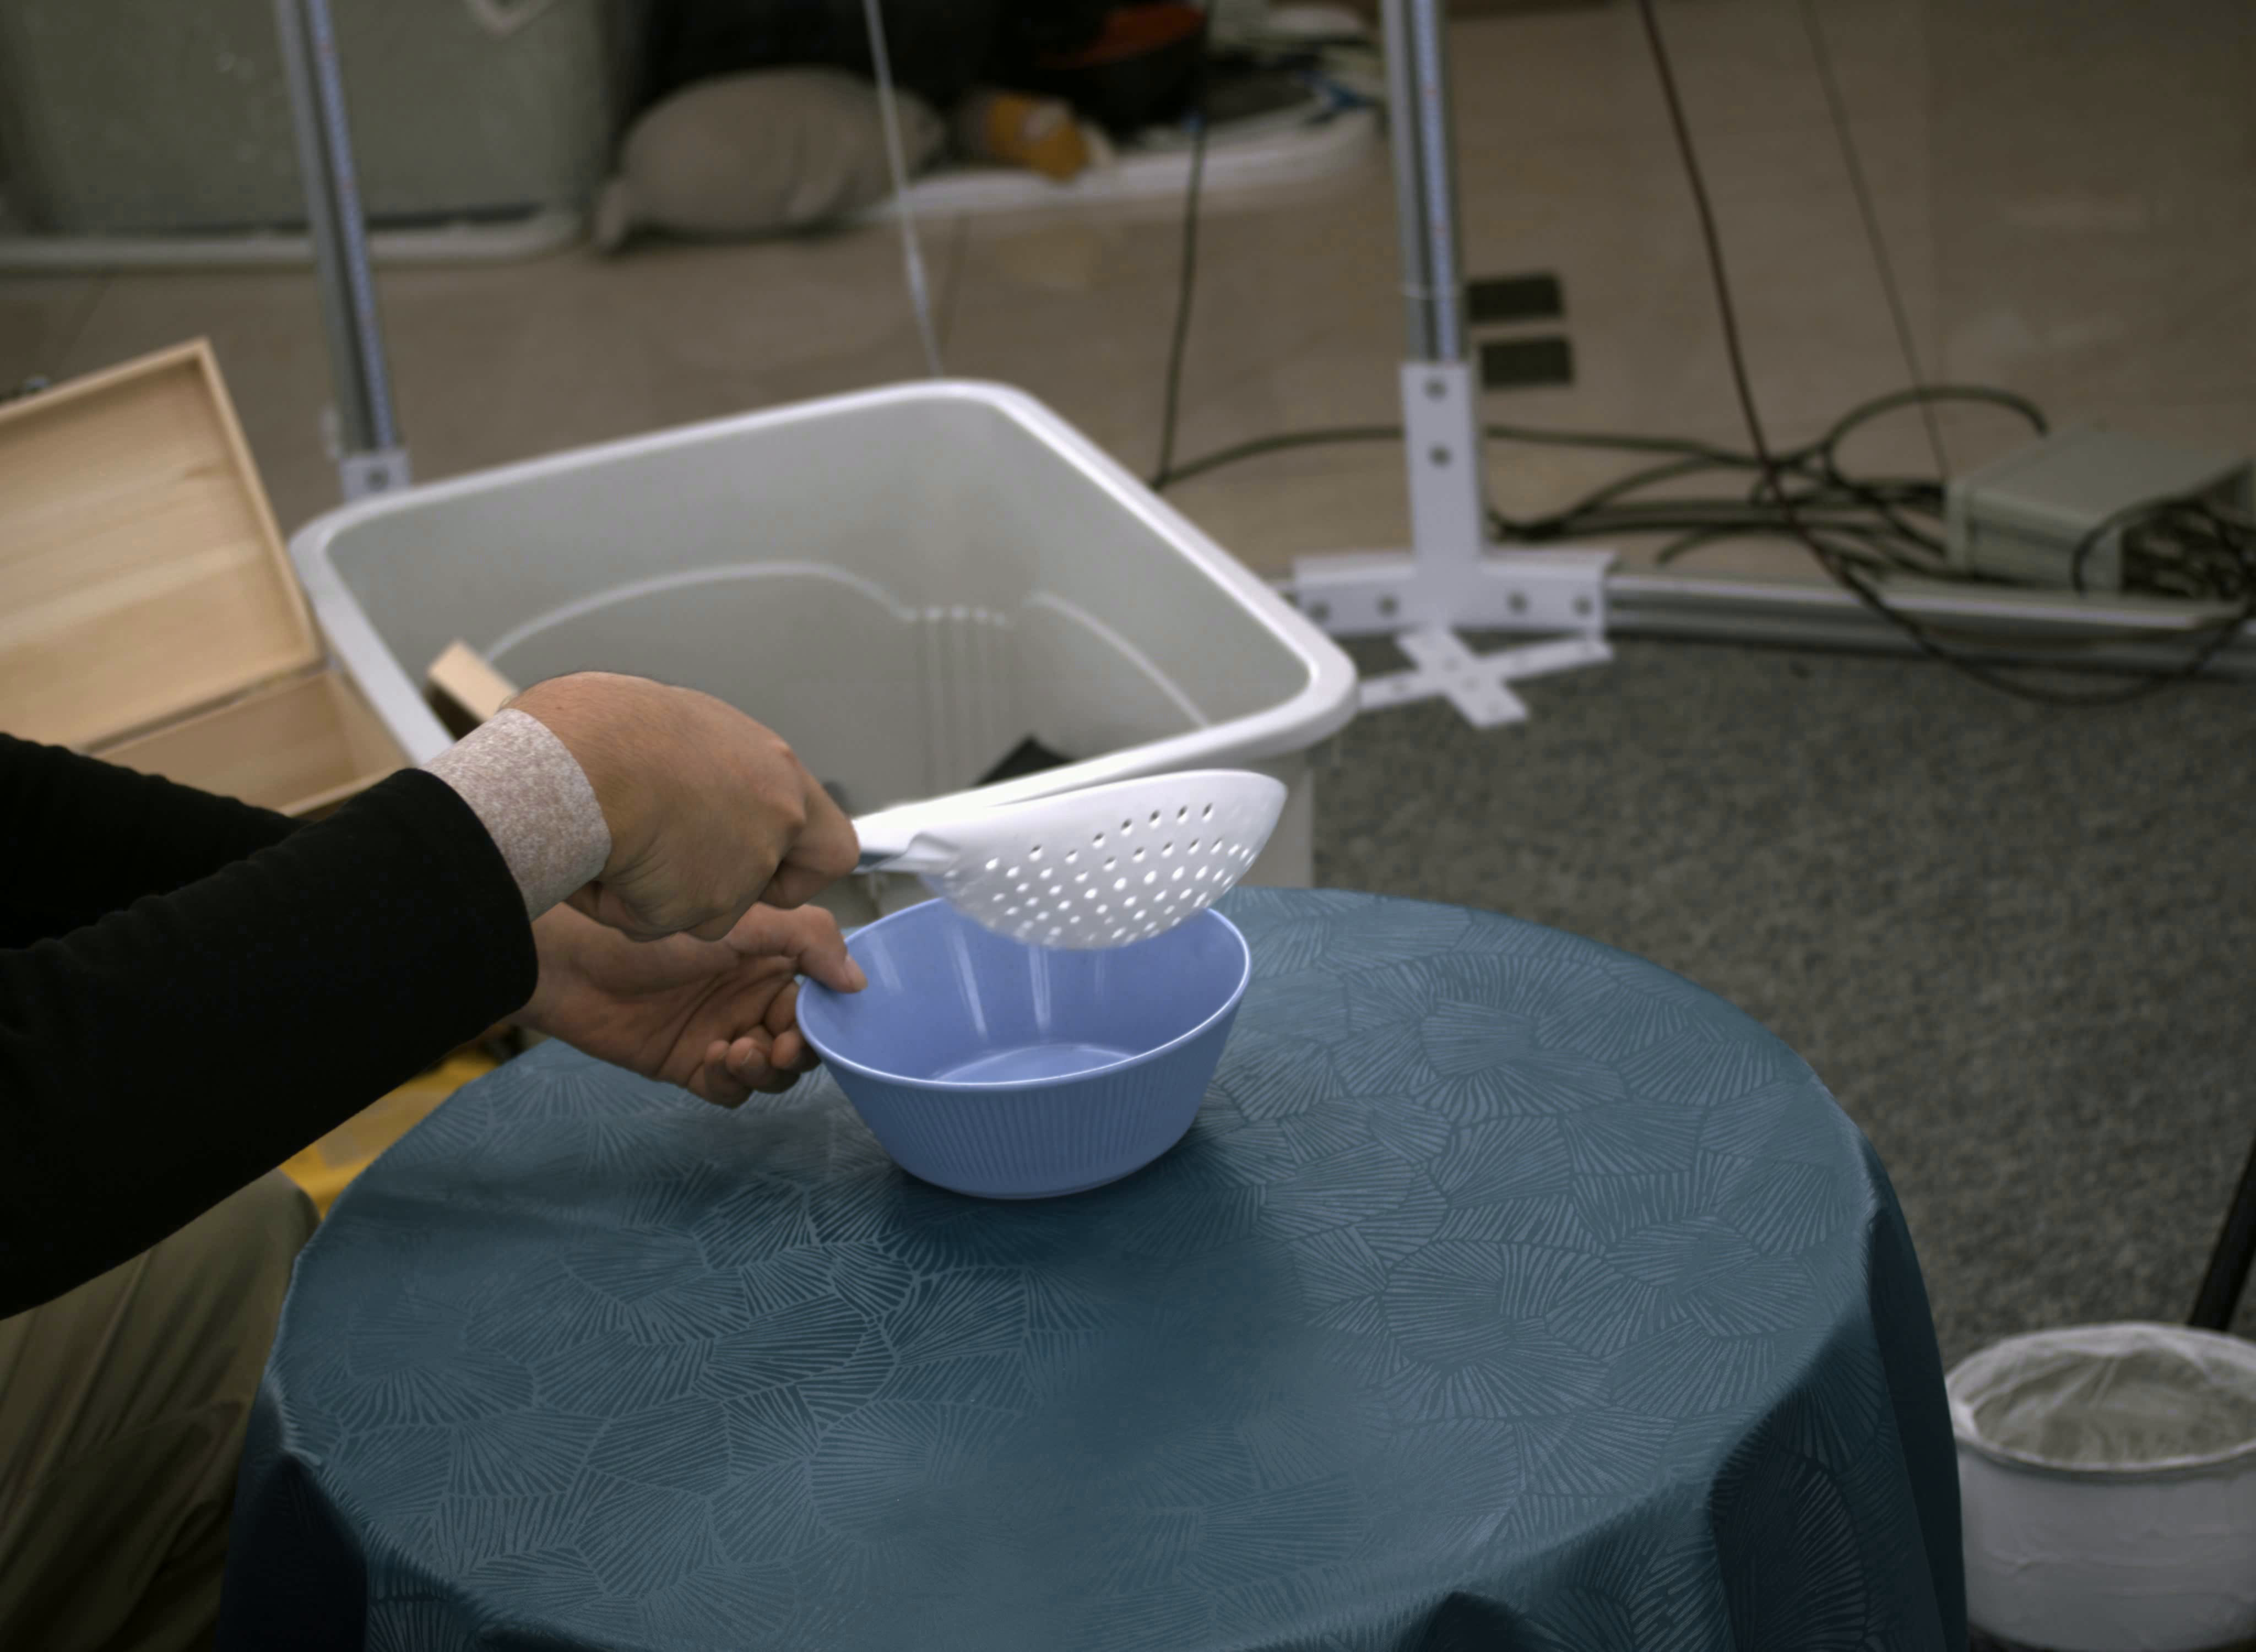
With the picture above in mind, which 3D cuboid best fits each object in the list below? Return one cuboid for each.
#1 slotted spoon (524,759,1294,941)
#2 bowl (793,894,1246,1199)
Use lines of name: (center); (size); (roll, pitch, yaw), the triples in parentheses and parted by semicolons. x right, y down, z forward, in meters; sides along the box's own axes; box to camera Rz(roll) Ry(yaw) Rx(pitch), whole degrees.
slotted spoon: (-0.076, 0.004, 2.003); (0.137, 0.045, 0.350); (-25, -23, 38)
bowl: (-0.038, 0.088, 2.182); (0.176, 0.071, 0.173); (-6, 25, 3)
